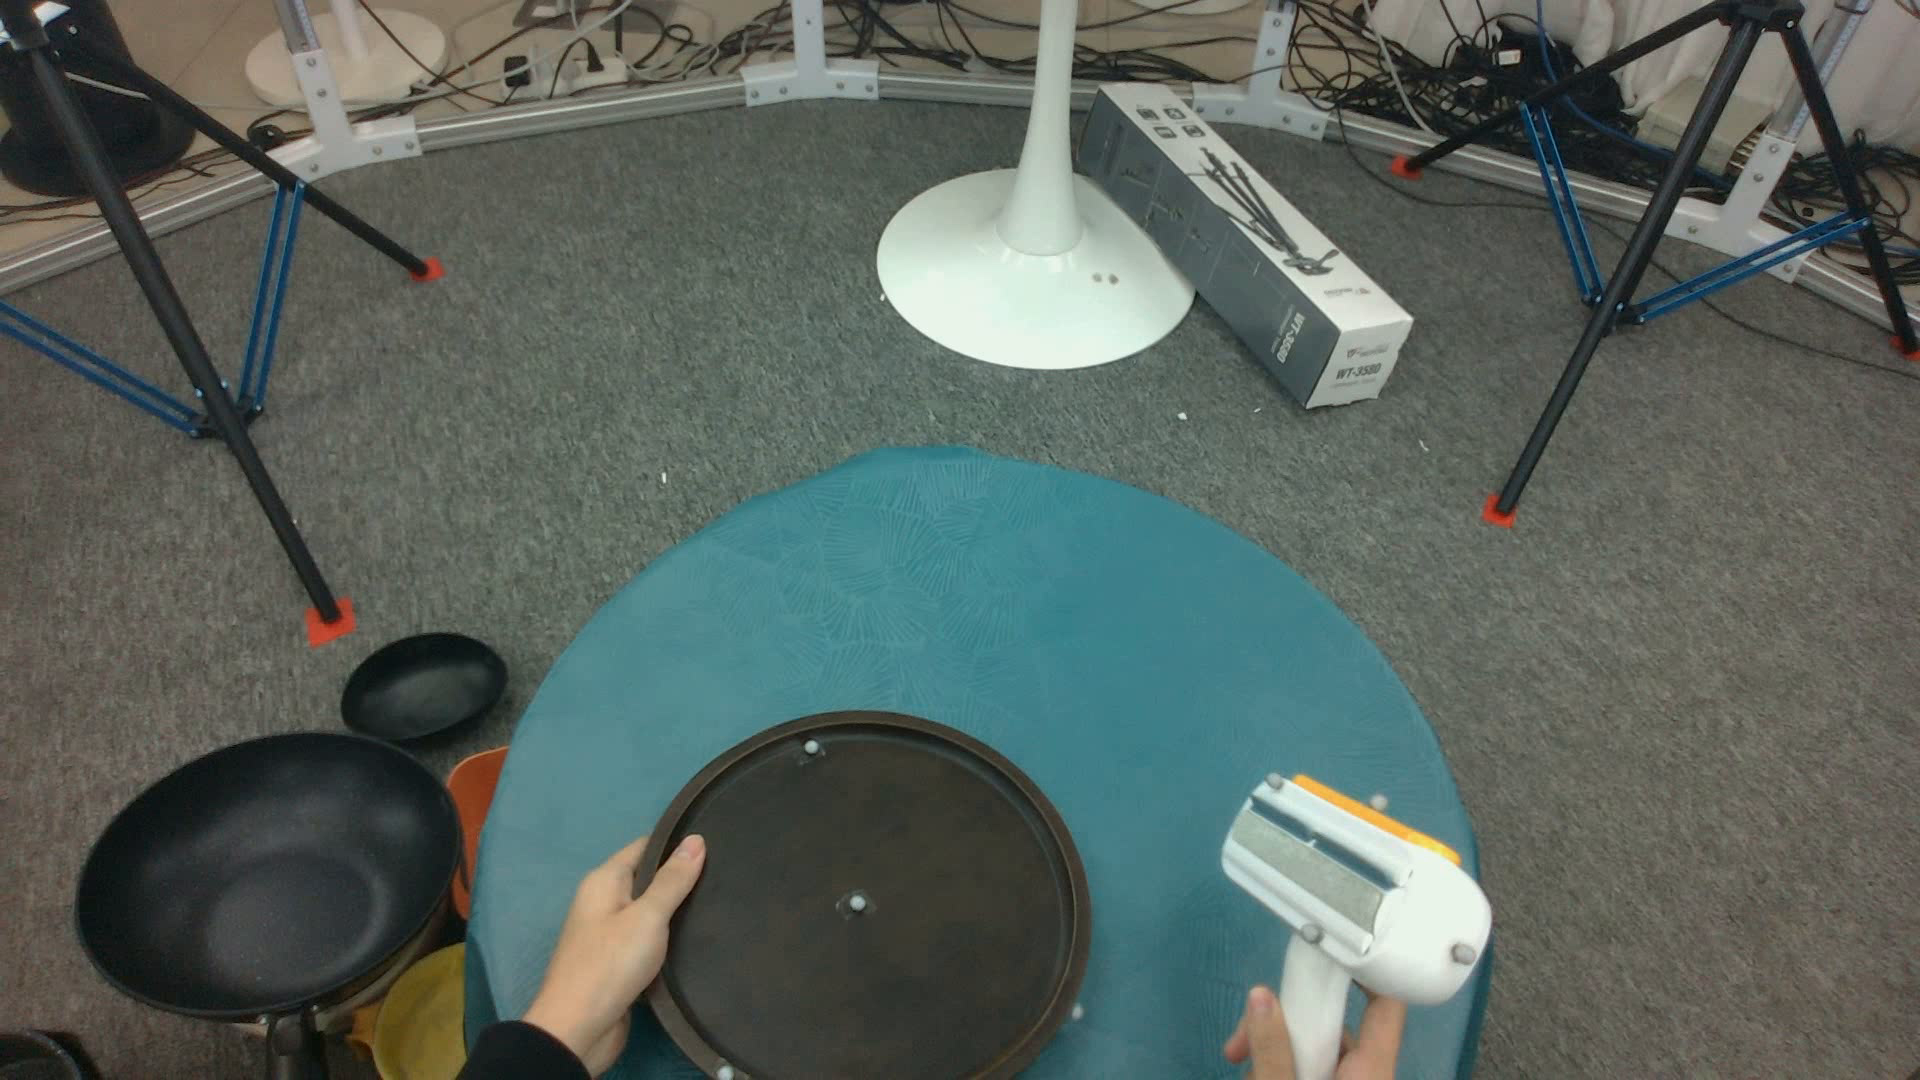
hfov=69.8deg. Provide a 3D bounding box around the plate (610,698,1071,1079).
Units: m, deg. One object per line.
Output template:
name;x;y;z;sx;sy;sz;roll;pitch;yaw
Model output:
plate;-0.064;0.195;0.765;0.255;0.029;0.256;5;47;-5

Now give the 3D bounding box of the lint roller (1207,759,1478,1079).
lint roller;0.159;0.215;0.666;0.074;0.192;0.193;23;2;-15
